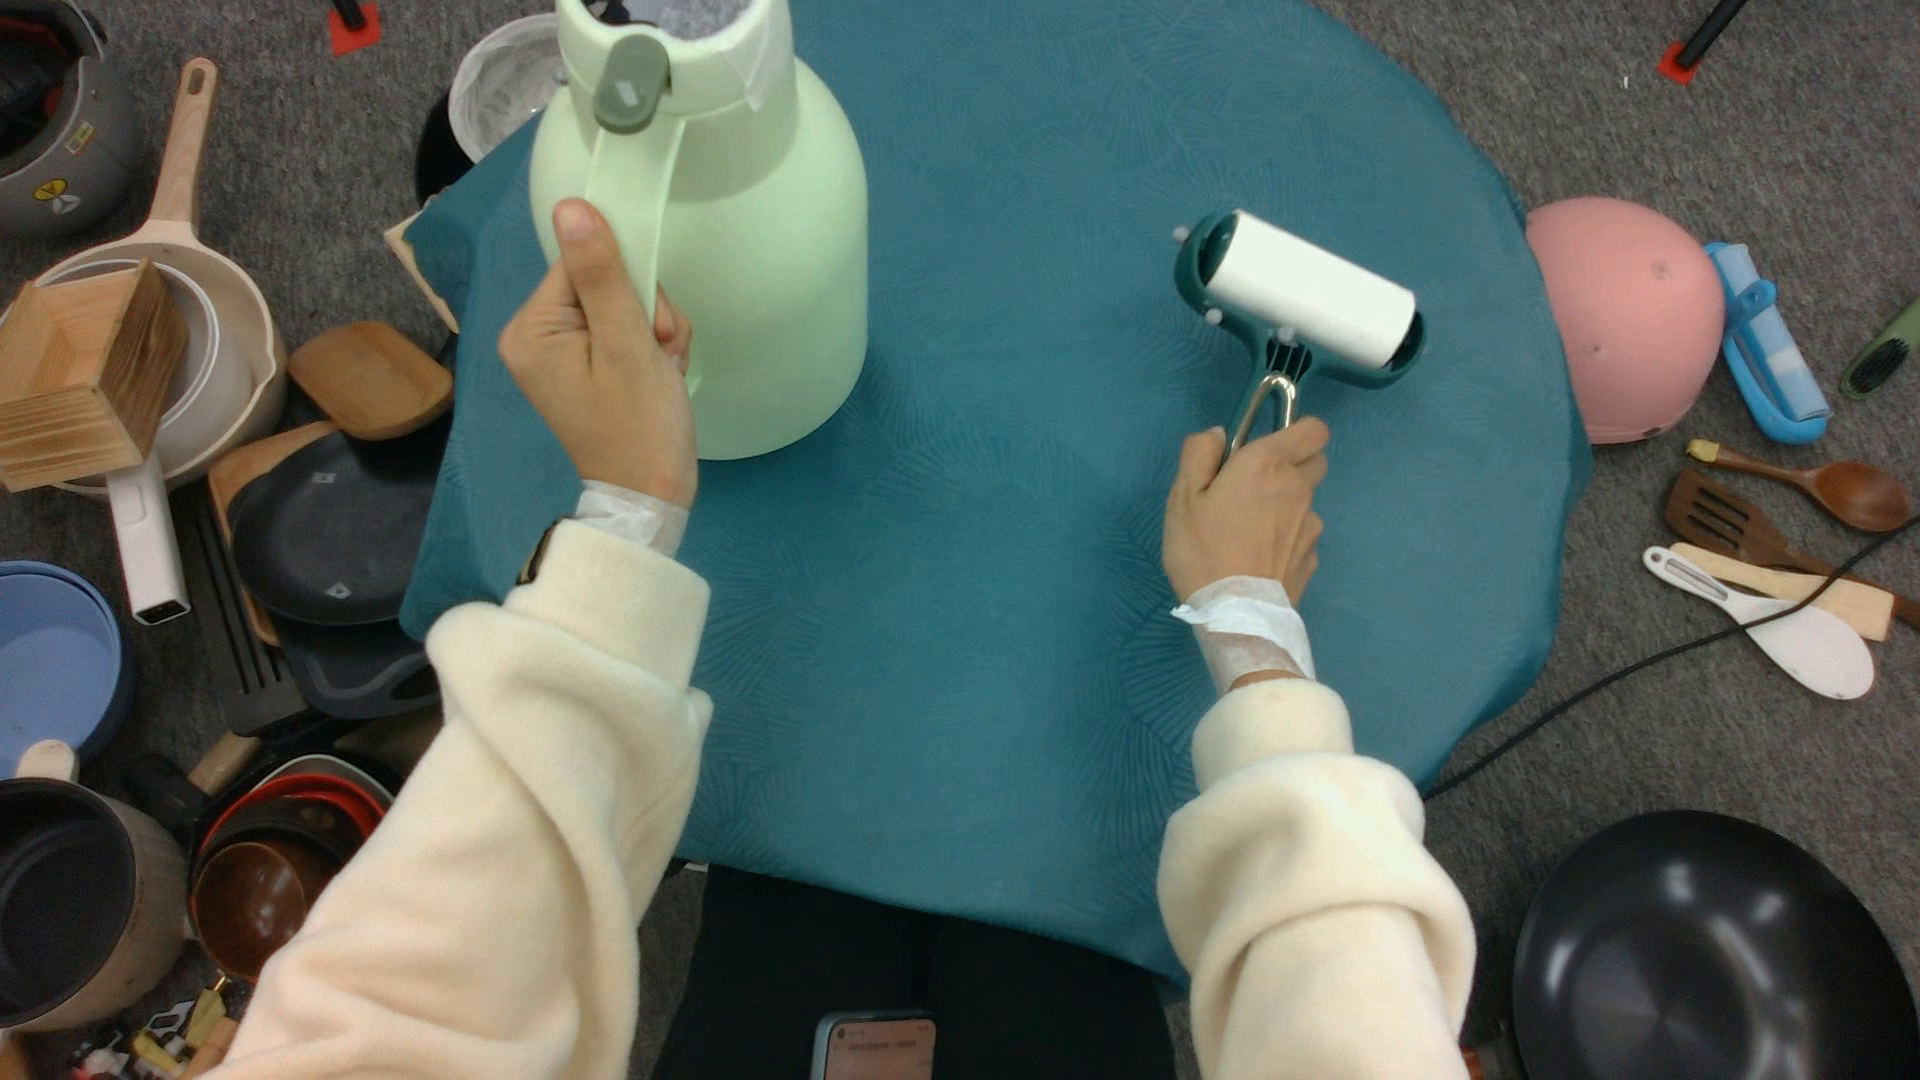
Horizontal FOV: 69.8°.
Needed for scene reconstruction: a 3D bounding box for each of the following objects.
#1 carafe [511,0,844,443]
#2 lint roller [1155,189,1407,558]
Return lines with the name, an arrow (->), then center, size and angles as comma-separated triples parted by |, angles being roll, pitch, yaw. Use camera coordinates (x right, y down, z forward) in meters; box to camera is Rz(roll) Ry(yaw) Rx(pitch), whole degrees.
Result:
carafe -> -0.123, -0.140, 0.591 | 0.144, 0.256, 0.187 | 12, 71, -3
lint roller -> 0.145, -0.076, 0.668 | 0.134, 0.048, 0.181 | 22, 60, -7
